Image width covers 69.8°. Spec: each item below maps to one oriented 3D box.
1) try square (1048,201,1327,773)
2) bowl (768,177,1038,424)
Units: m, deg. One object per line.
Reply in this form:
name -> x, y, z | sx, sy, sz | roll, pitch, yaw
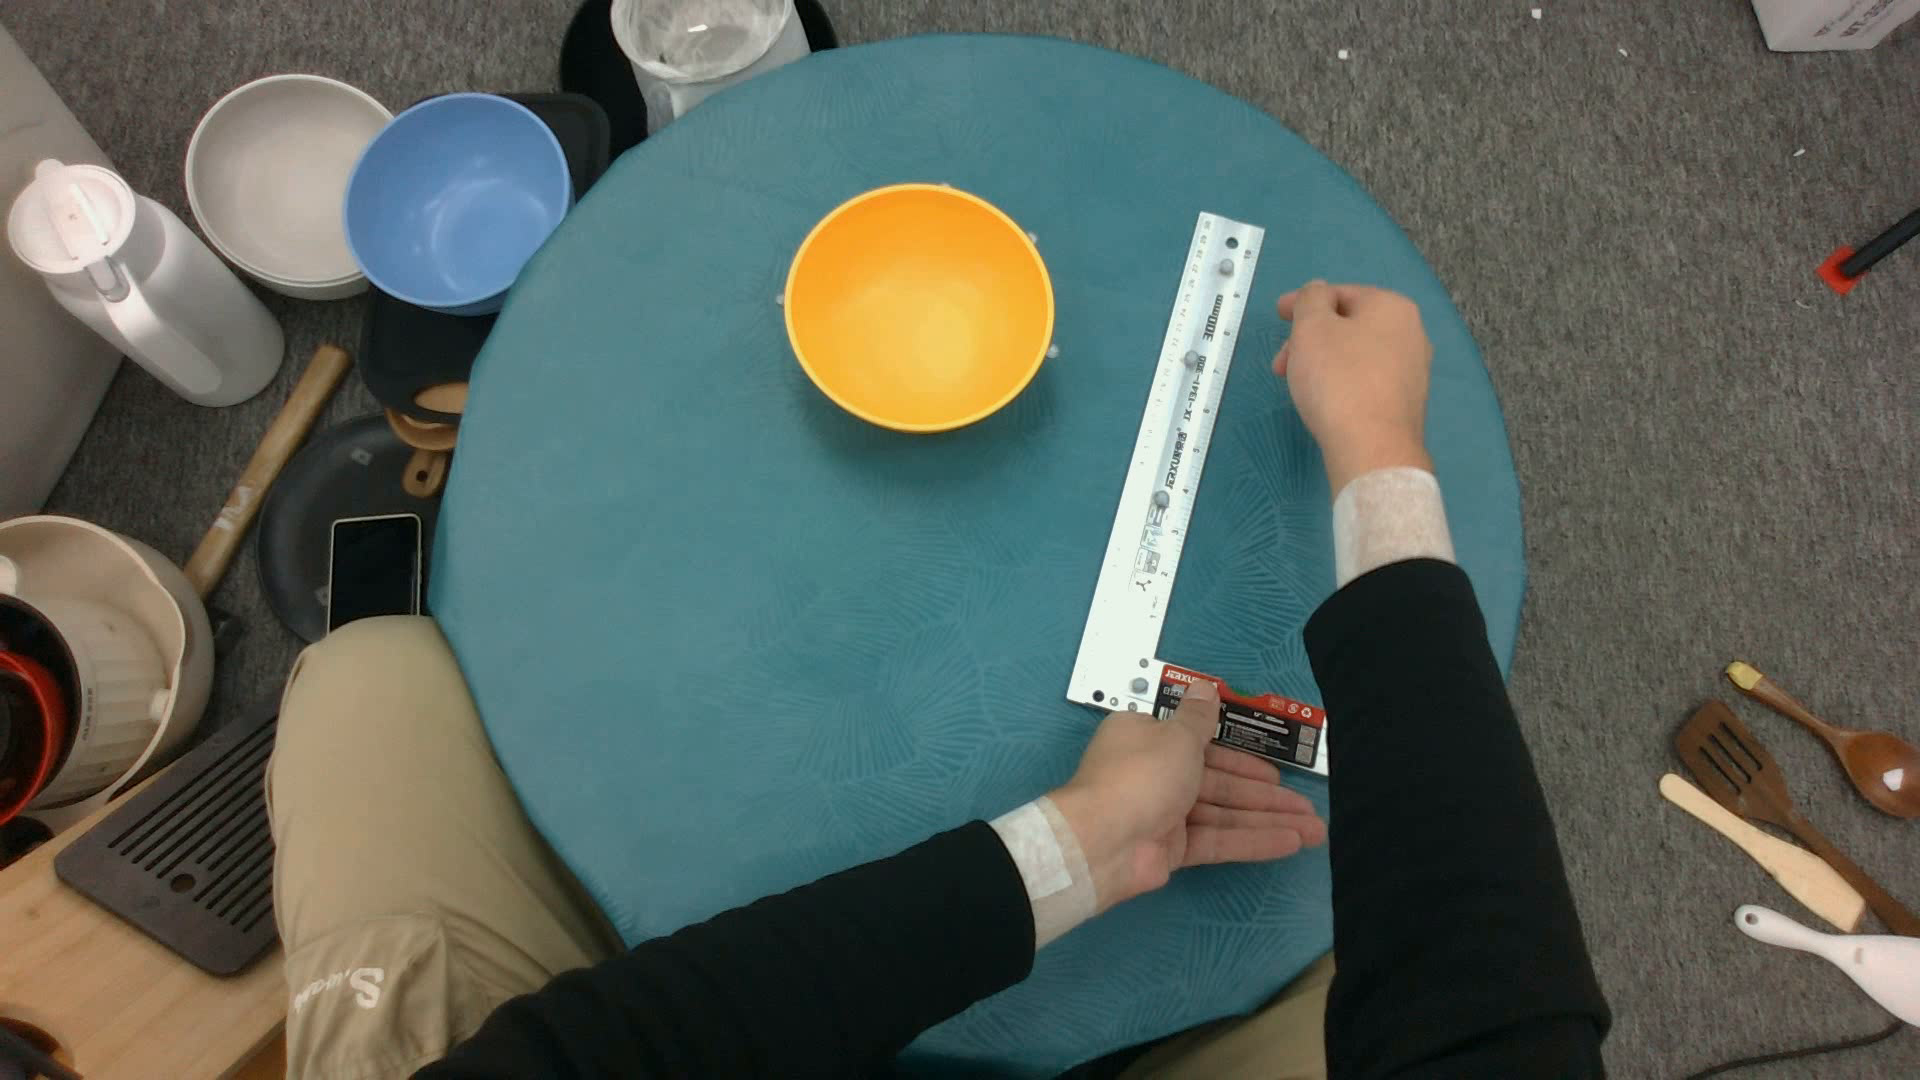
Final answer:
try square -> 0.159, -0.038, 0.783 | 0.152, 0.016, 0.314 | 18, 72, -3
bowl -> -0.031, -0.124, 0.767 | 0.145, 0.060, 0.145 | 0, 75, -1
